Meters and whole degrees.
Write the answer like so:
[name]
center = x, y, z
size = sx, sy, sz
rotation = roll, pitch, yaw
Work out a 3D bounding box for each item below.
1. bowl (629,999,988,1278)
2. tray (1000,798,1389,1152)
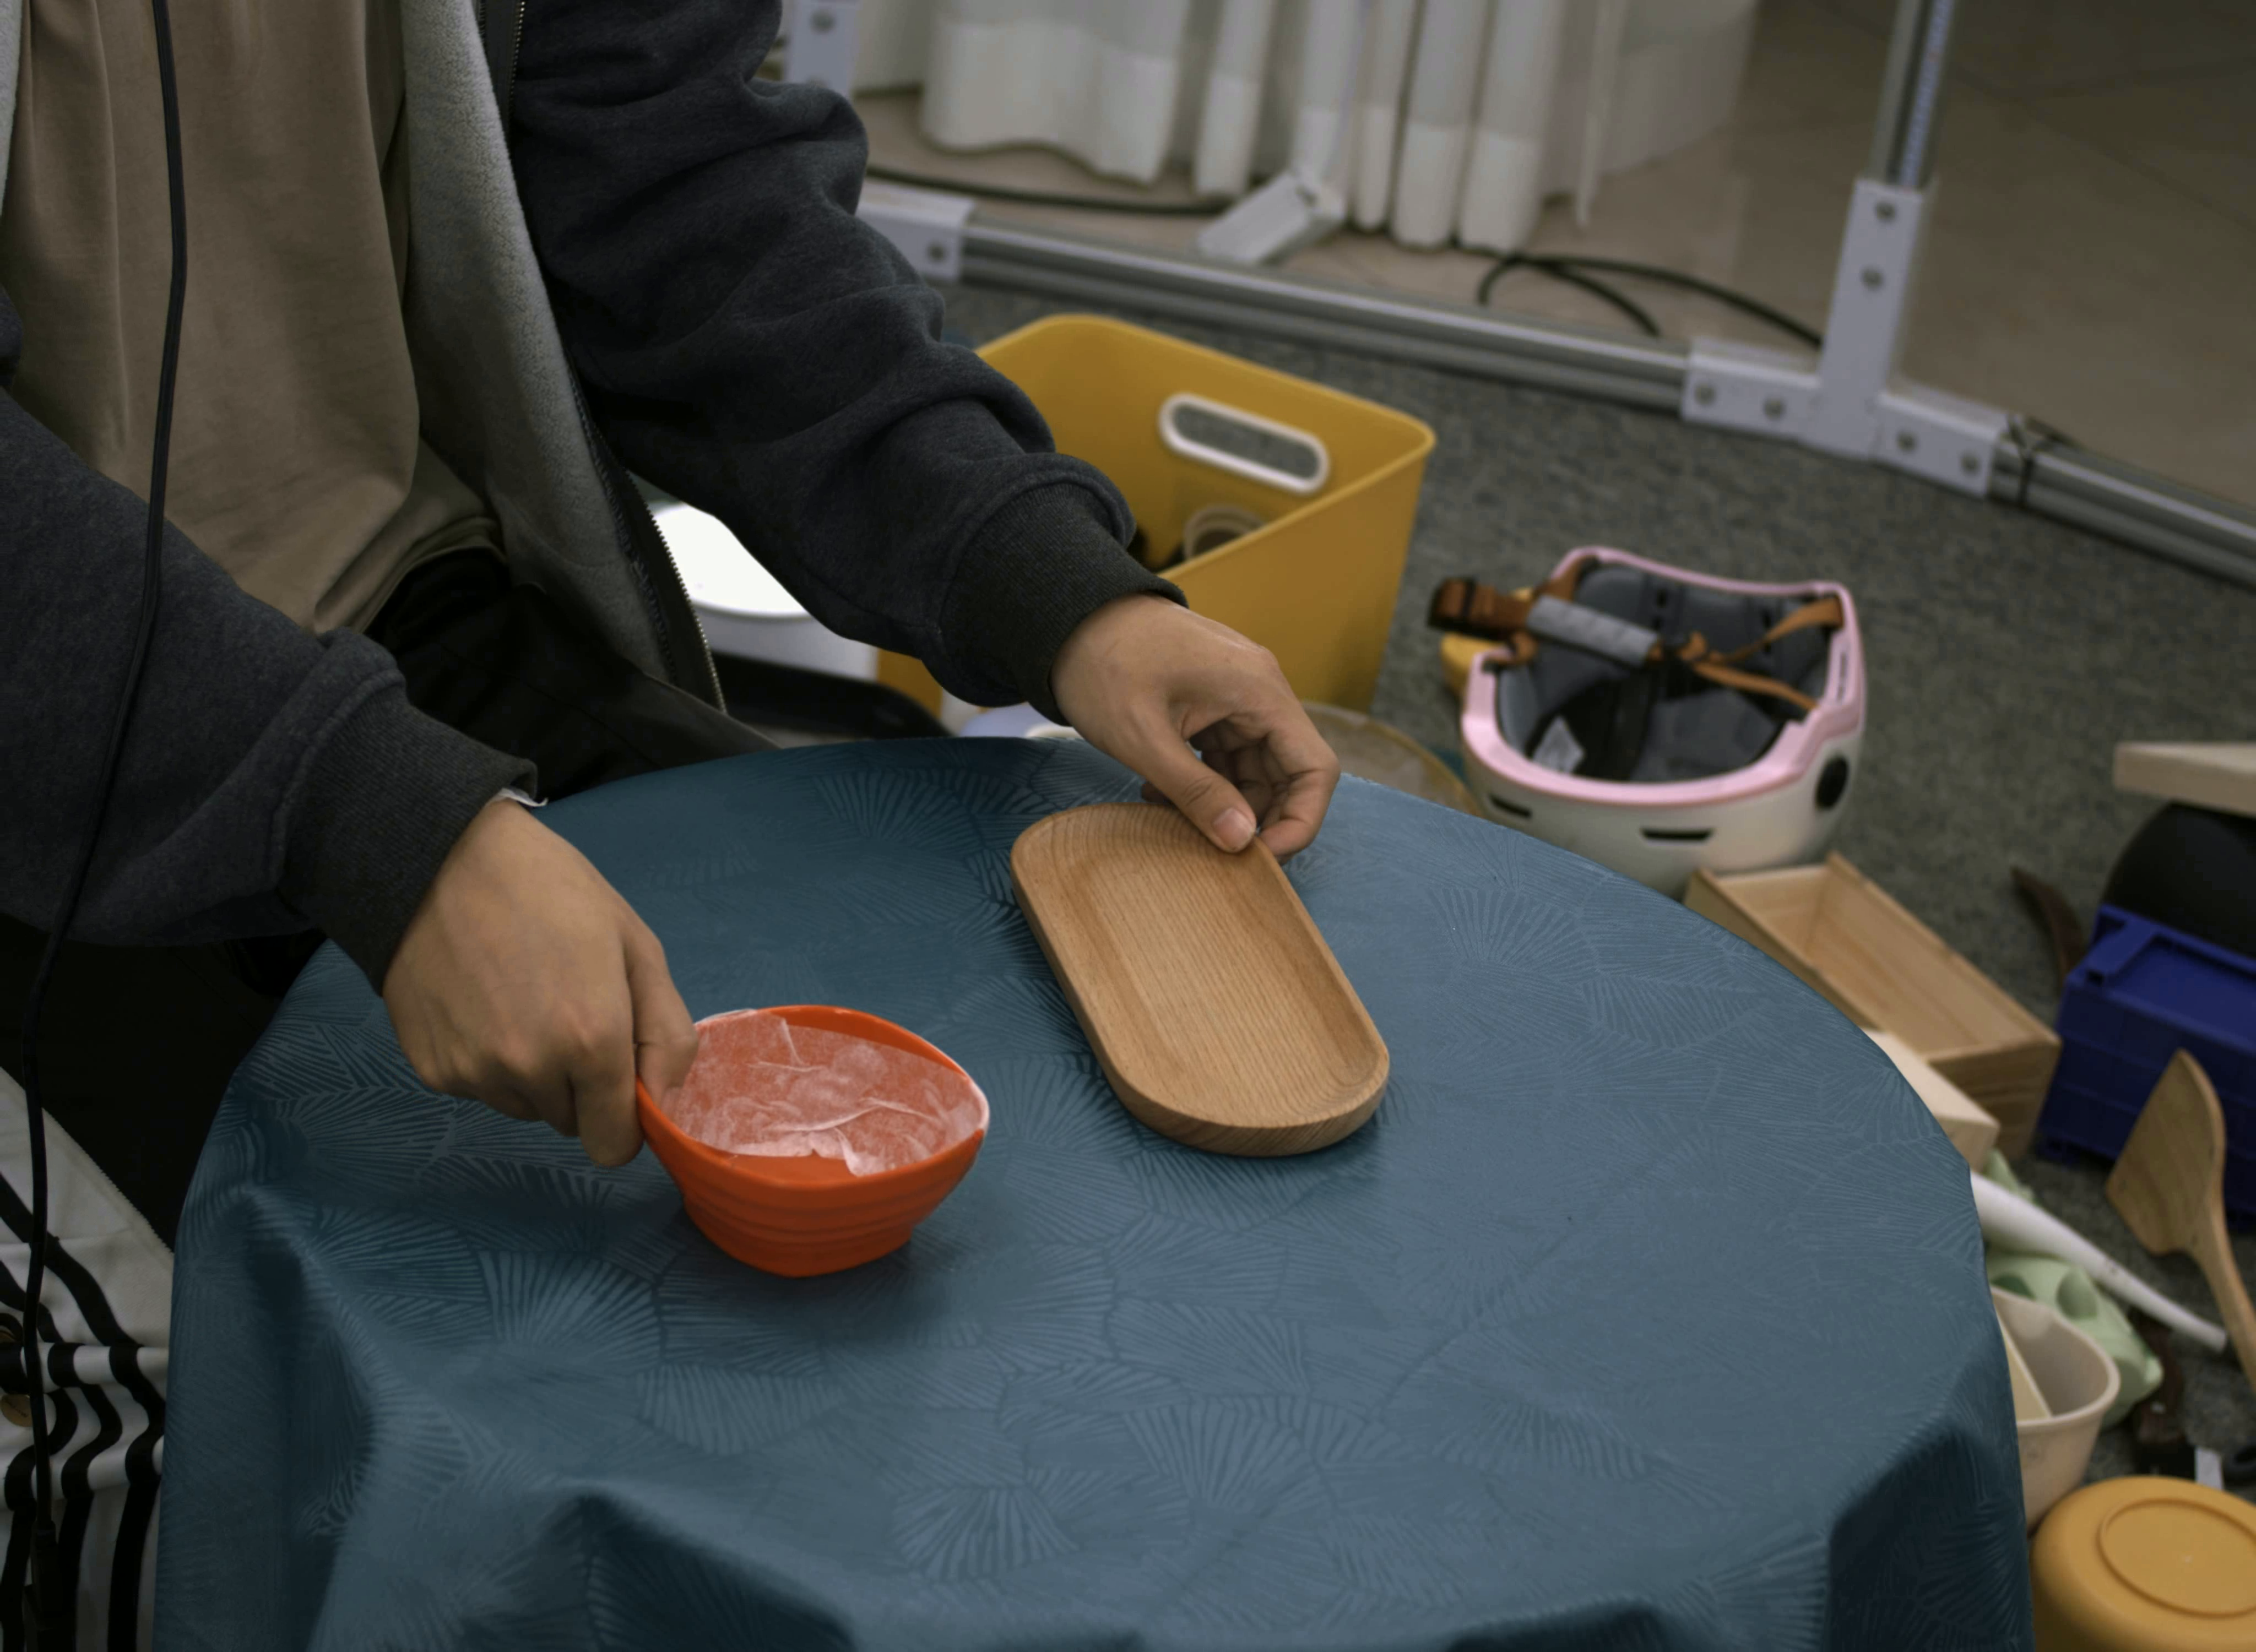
[bowl]
center = -0.107, 0.107, 1.751
size = 0.118, 0.051, 0.119
rotation = 5, 28, -3
[tray]
center = 0.022, 0.051, 1.924
size = 0.101, 0.020, 0.233
rotation = -5, 29, -17
